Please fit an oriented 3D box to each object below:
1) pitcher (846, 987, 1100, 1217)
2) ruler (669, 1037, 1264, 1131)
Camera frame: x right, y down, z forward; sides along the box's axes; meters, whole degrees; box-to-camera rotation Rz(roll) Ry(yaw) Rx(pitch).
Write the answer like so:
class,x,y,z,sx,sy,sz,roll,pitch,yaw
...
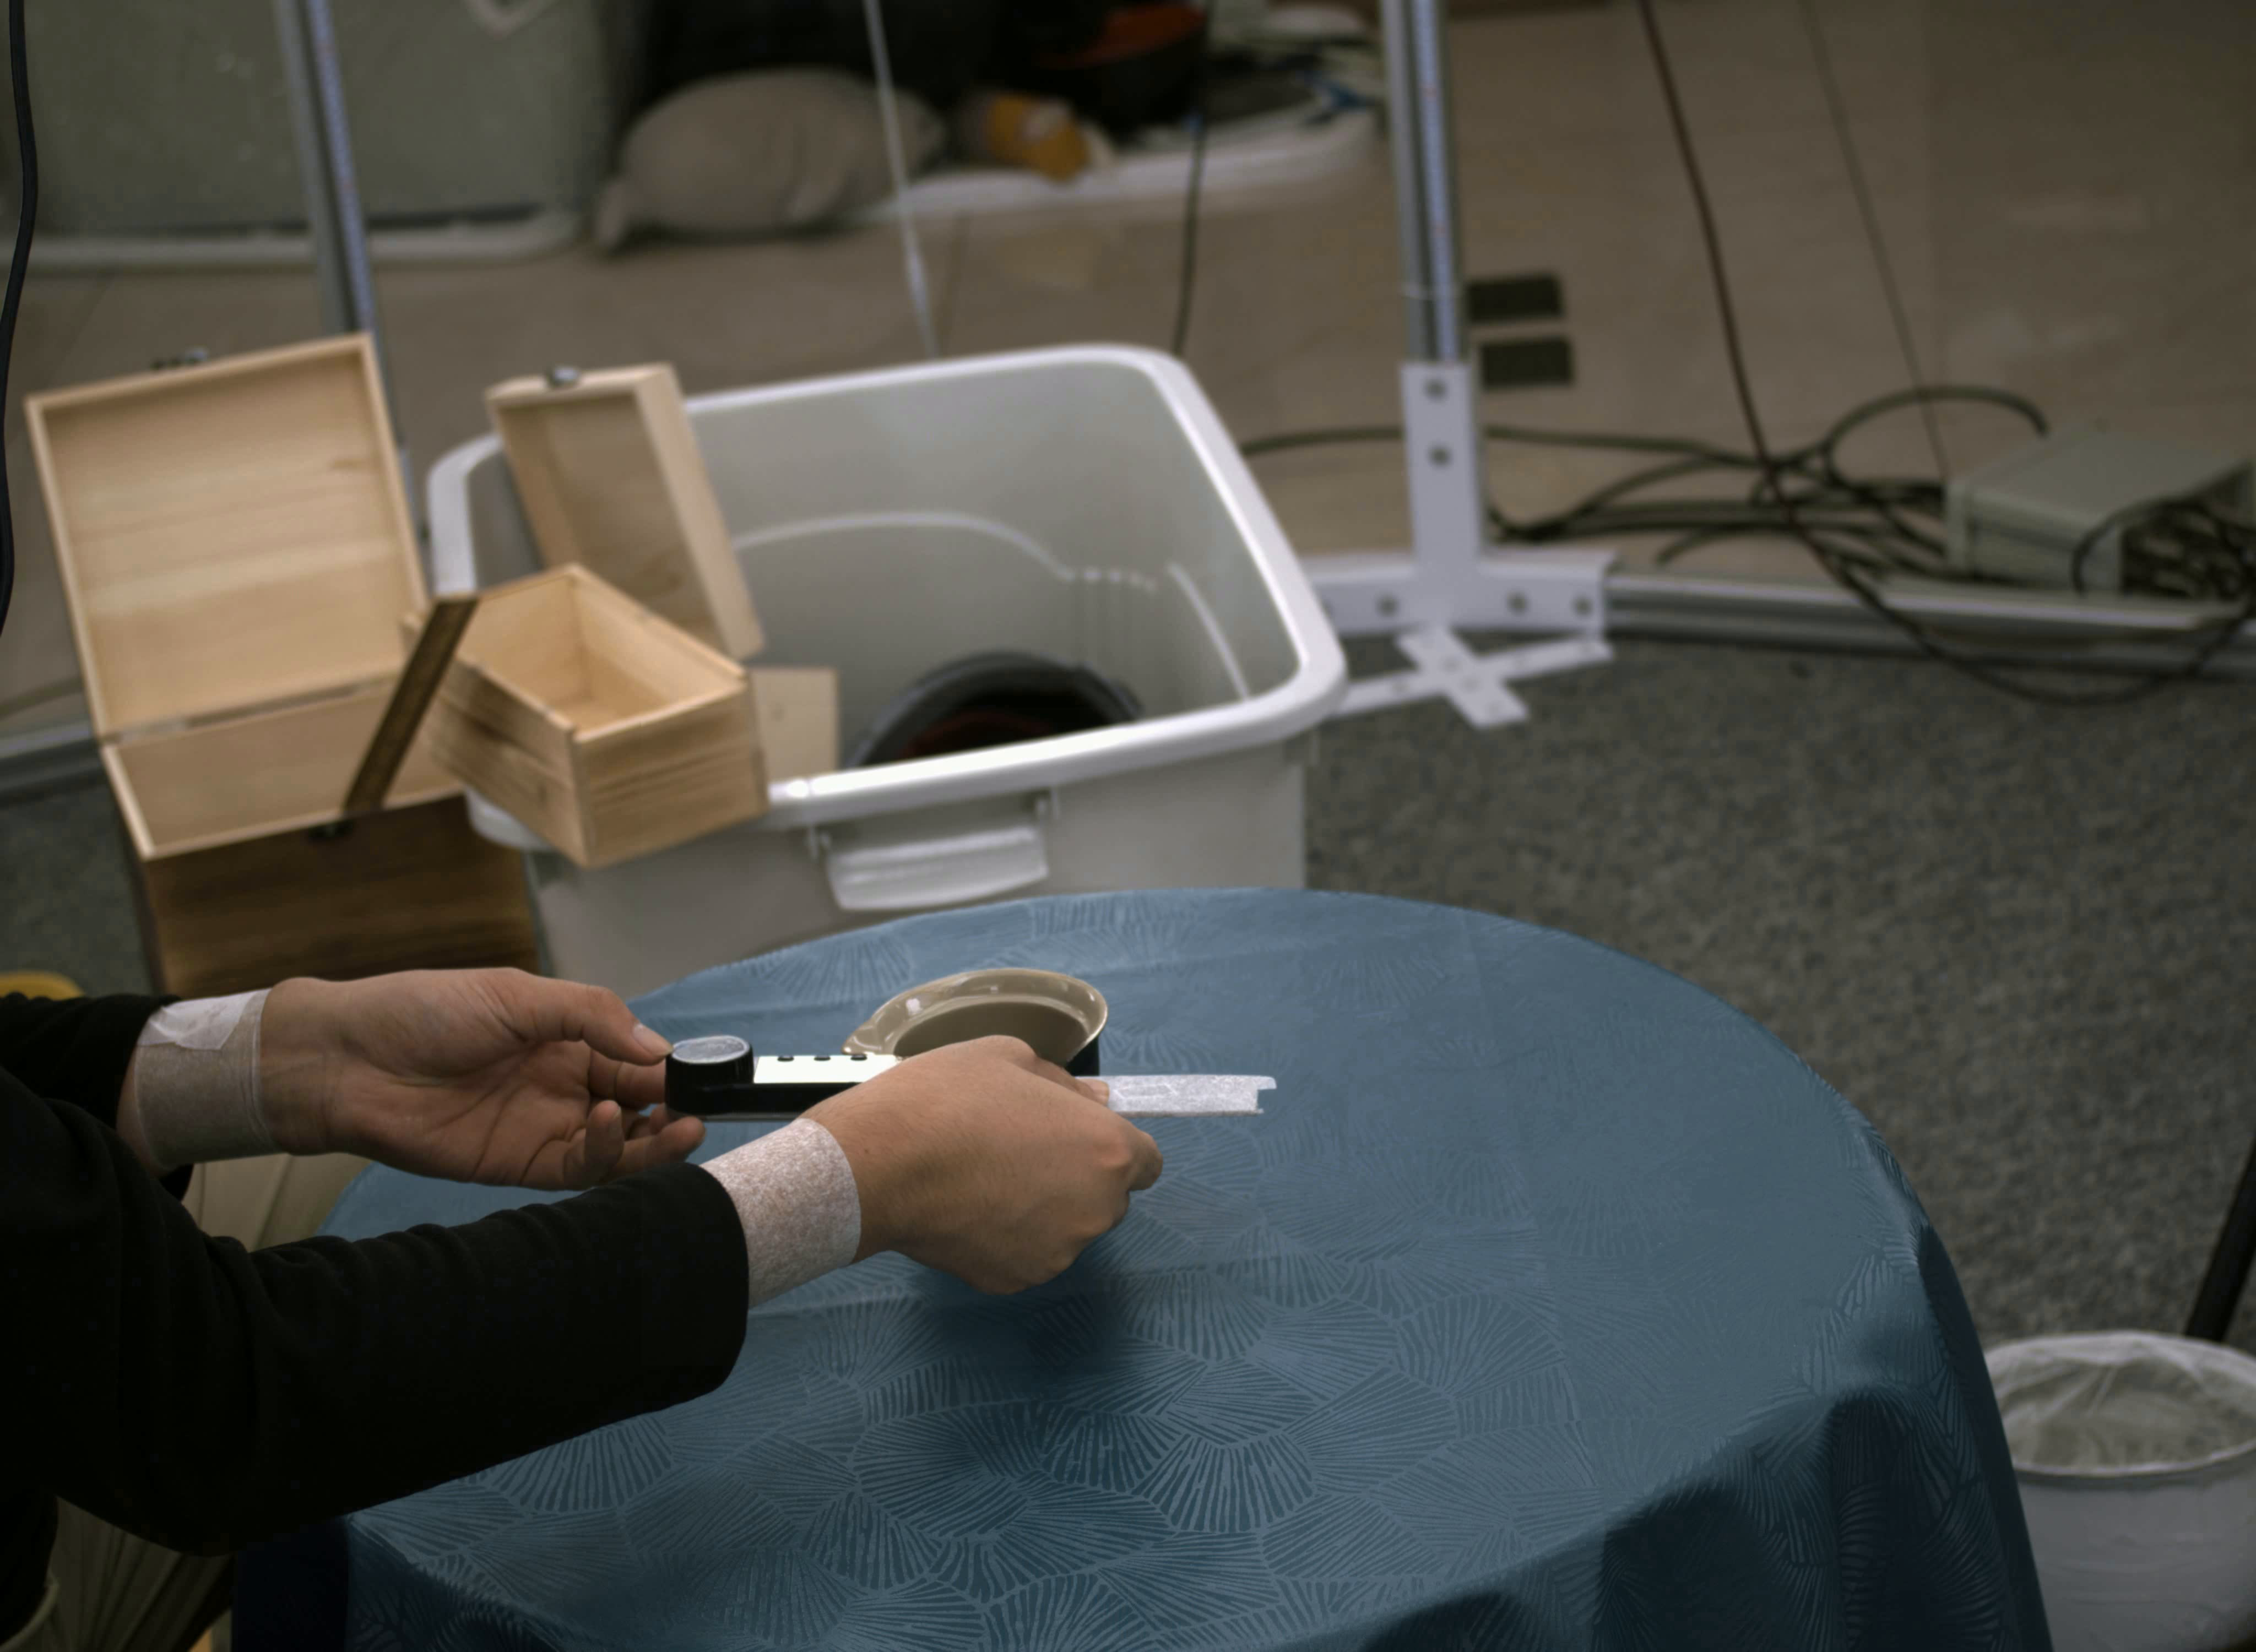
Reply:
class,x,y,z,sx,sy,sz,roll,pitch,yaw
pitcher,-0.056,0.106,2.145,0.096,0.072,0.082,-7,26,-2
ruler,-0.060,0.091,2.068,0.218,0.024,0.038,-2,26,3
